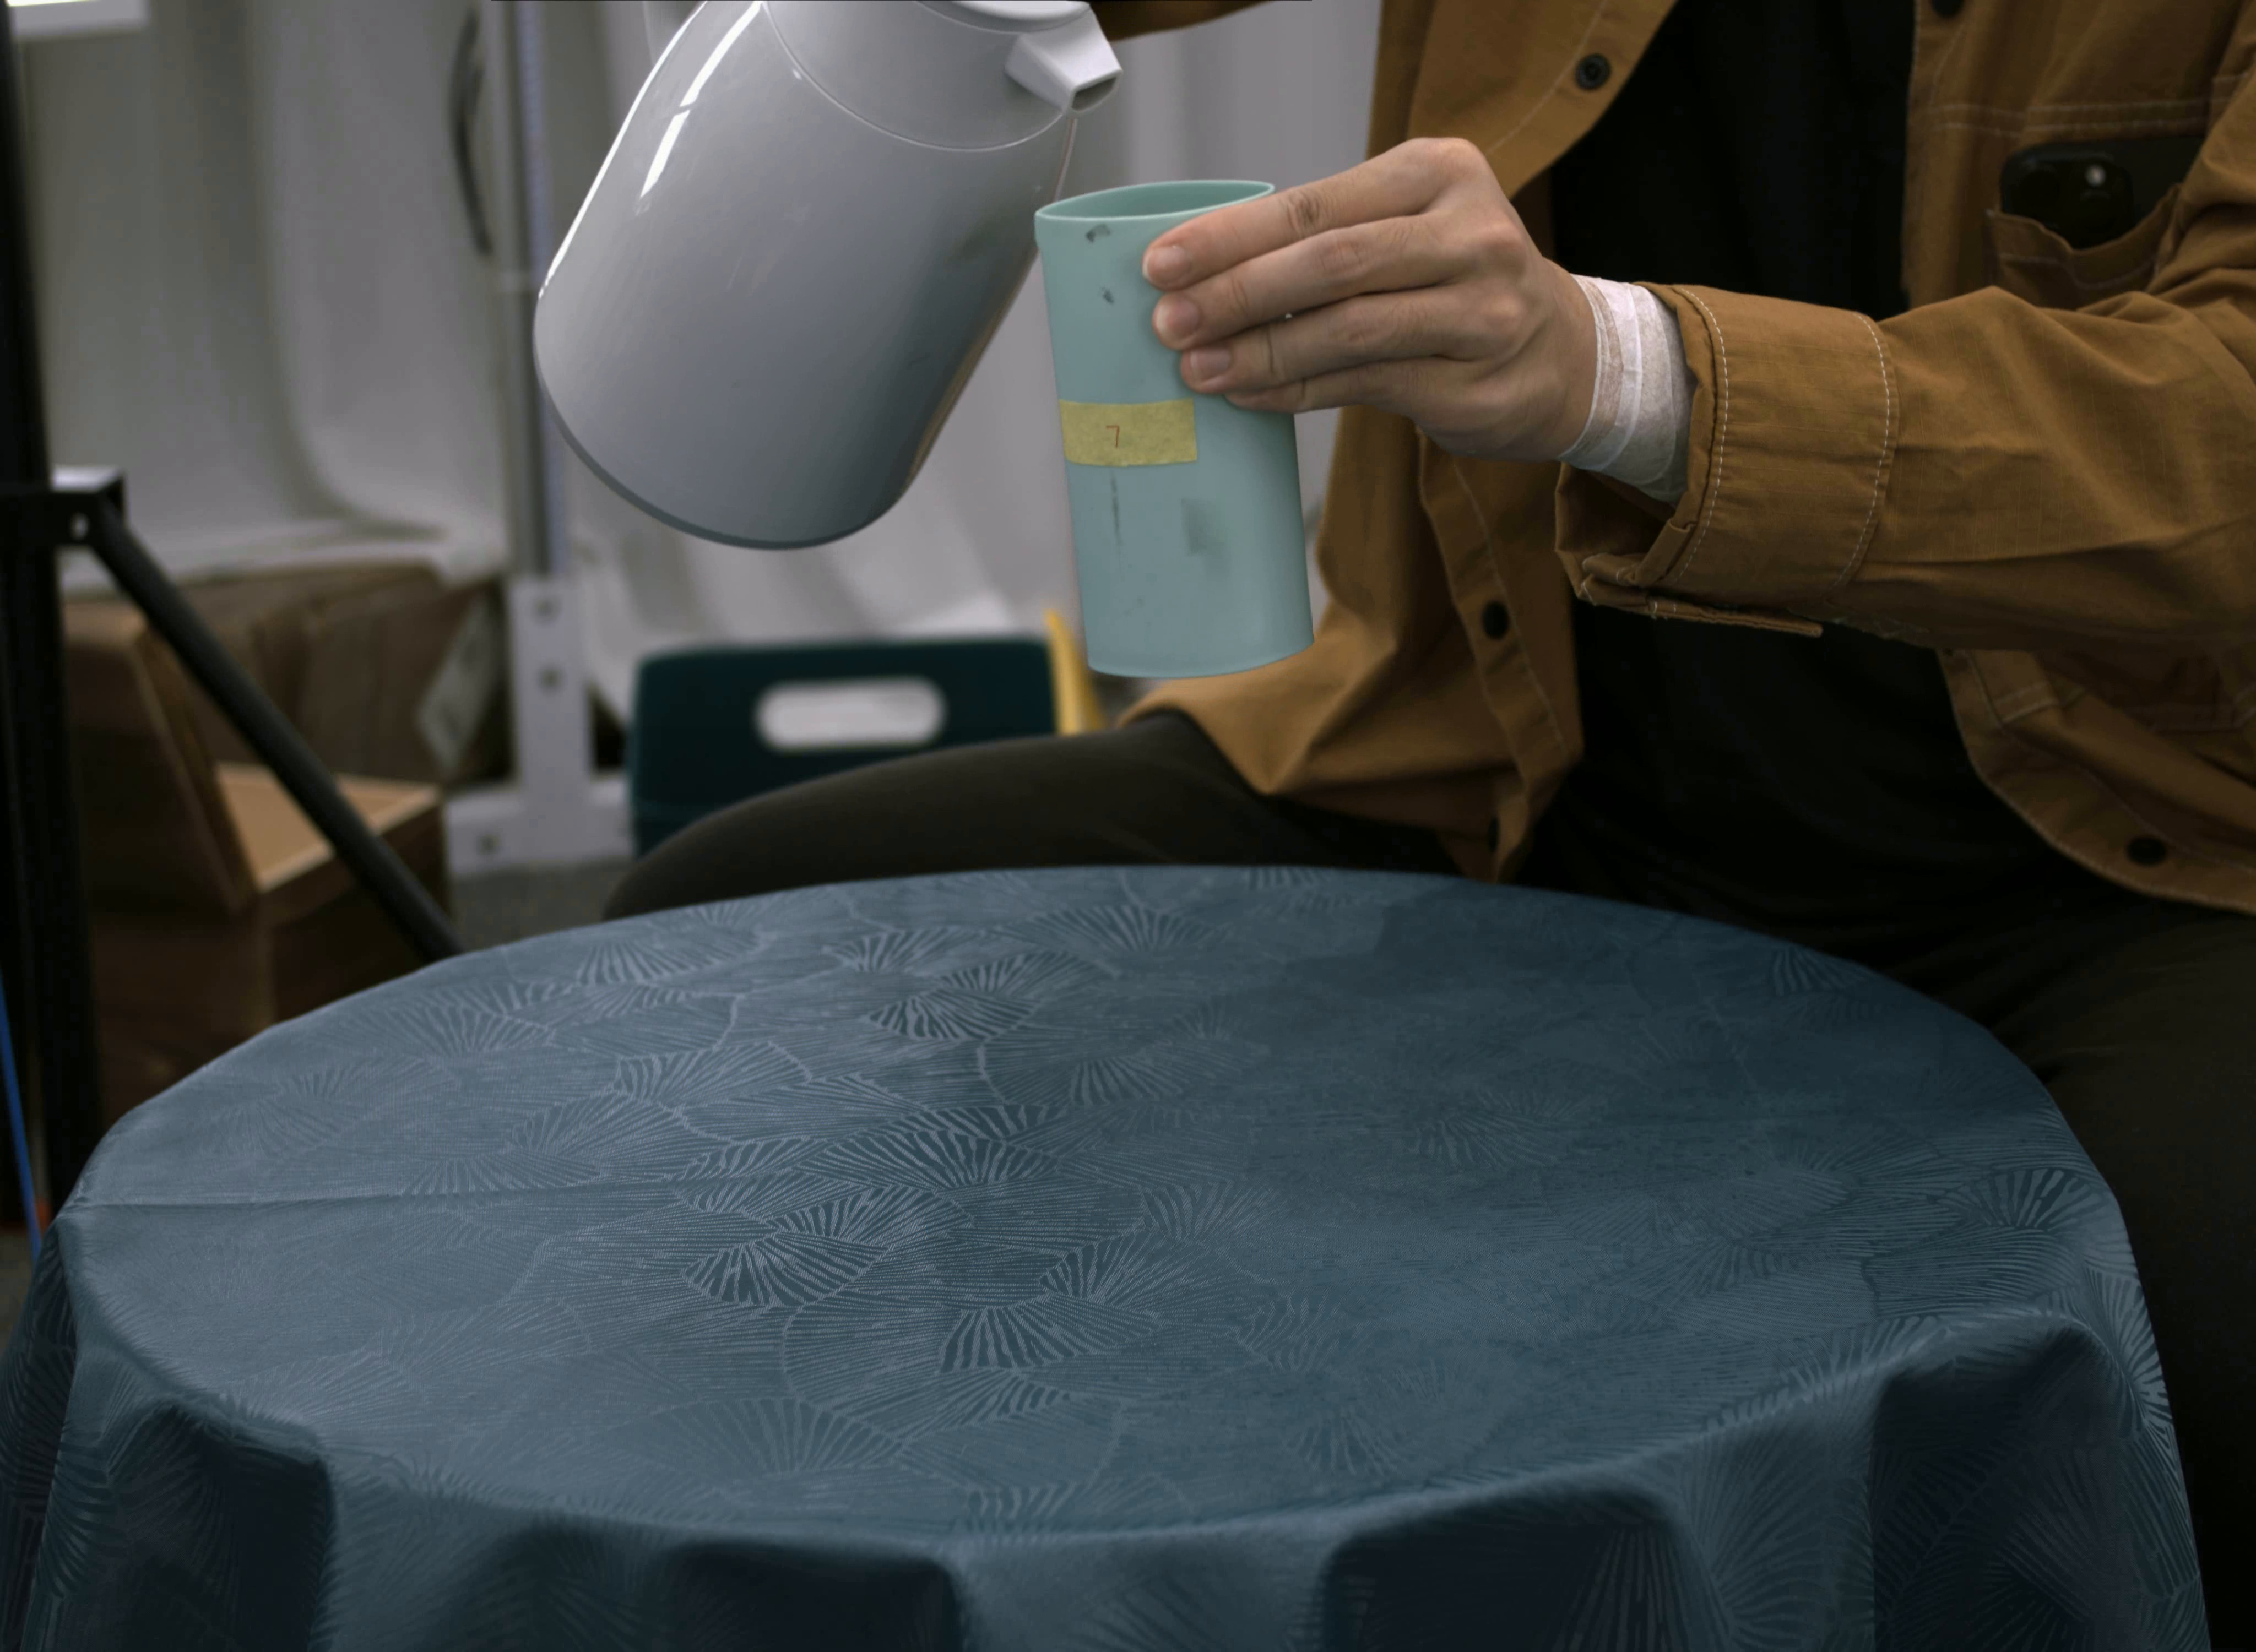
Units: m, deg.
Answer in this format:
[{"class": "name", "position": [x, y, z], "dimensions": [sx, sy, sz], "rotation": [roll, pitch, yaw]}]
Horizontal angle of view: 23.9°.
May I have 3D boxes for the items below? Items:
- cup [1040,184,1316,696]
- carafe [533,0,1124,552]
[{"class": "cup", "position": [0.016, -0.109, 1.489], "dimensions": [0.066, 0.132, 0.067], "rotation": [-6, 14, 0]}, {"class": "carafe", "position": [-0.092, -0.219, 1.594], "dimensions": [0.130, 0.250, 0.170], "rotation": [-26, 71, -35]}]
